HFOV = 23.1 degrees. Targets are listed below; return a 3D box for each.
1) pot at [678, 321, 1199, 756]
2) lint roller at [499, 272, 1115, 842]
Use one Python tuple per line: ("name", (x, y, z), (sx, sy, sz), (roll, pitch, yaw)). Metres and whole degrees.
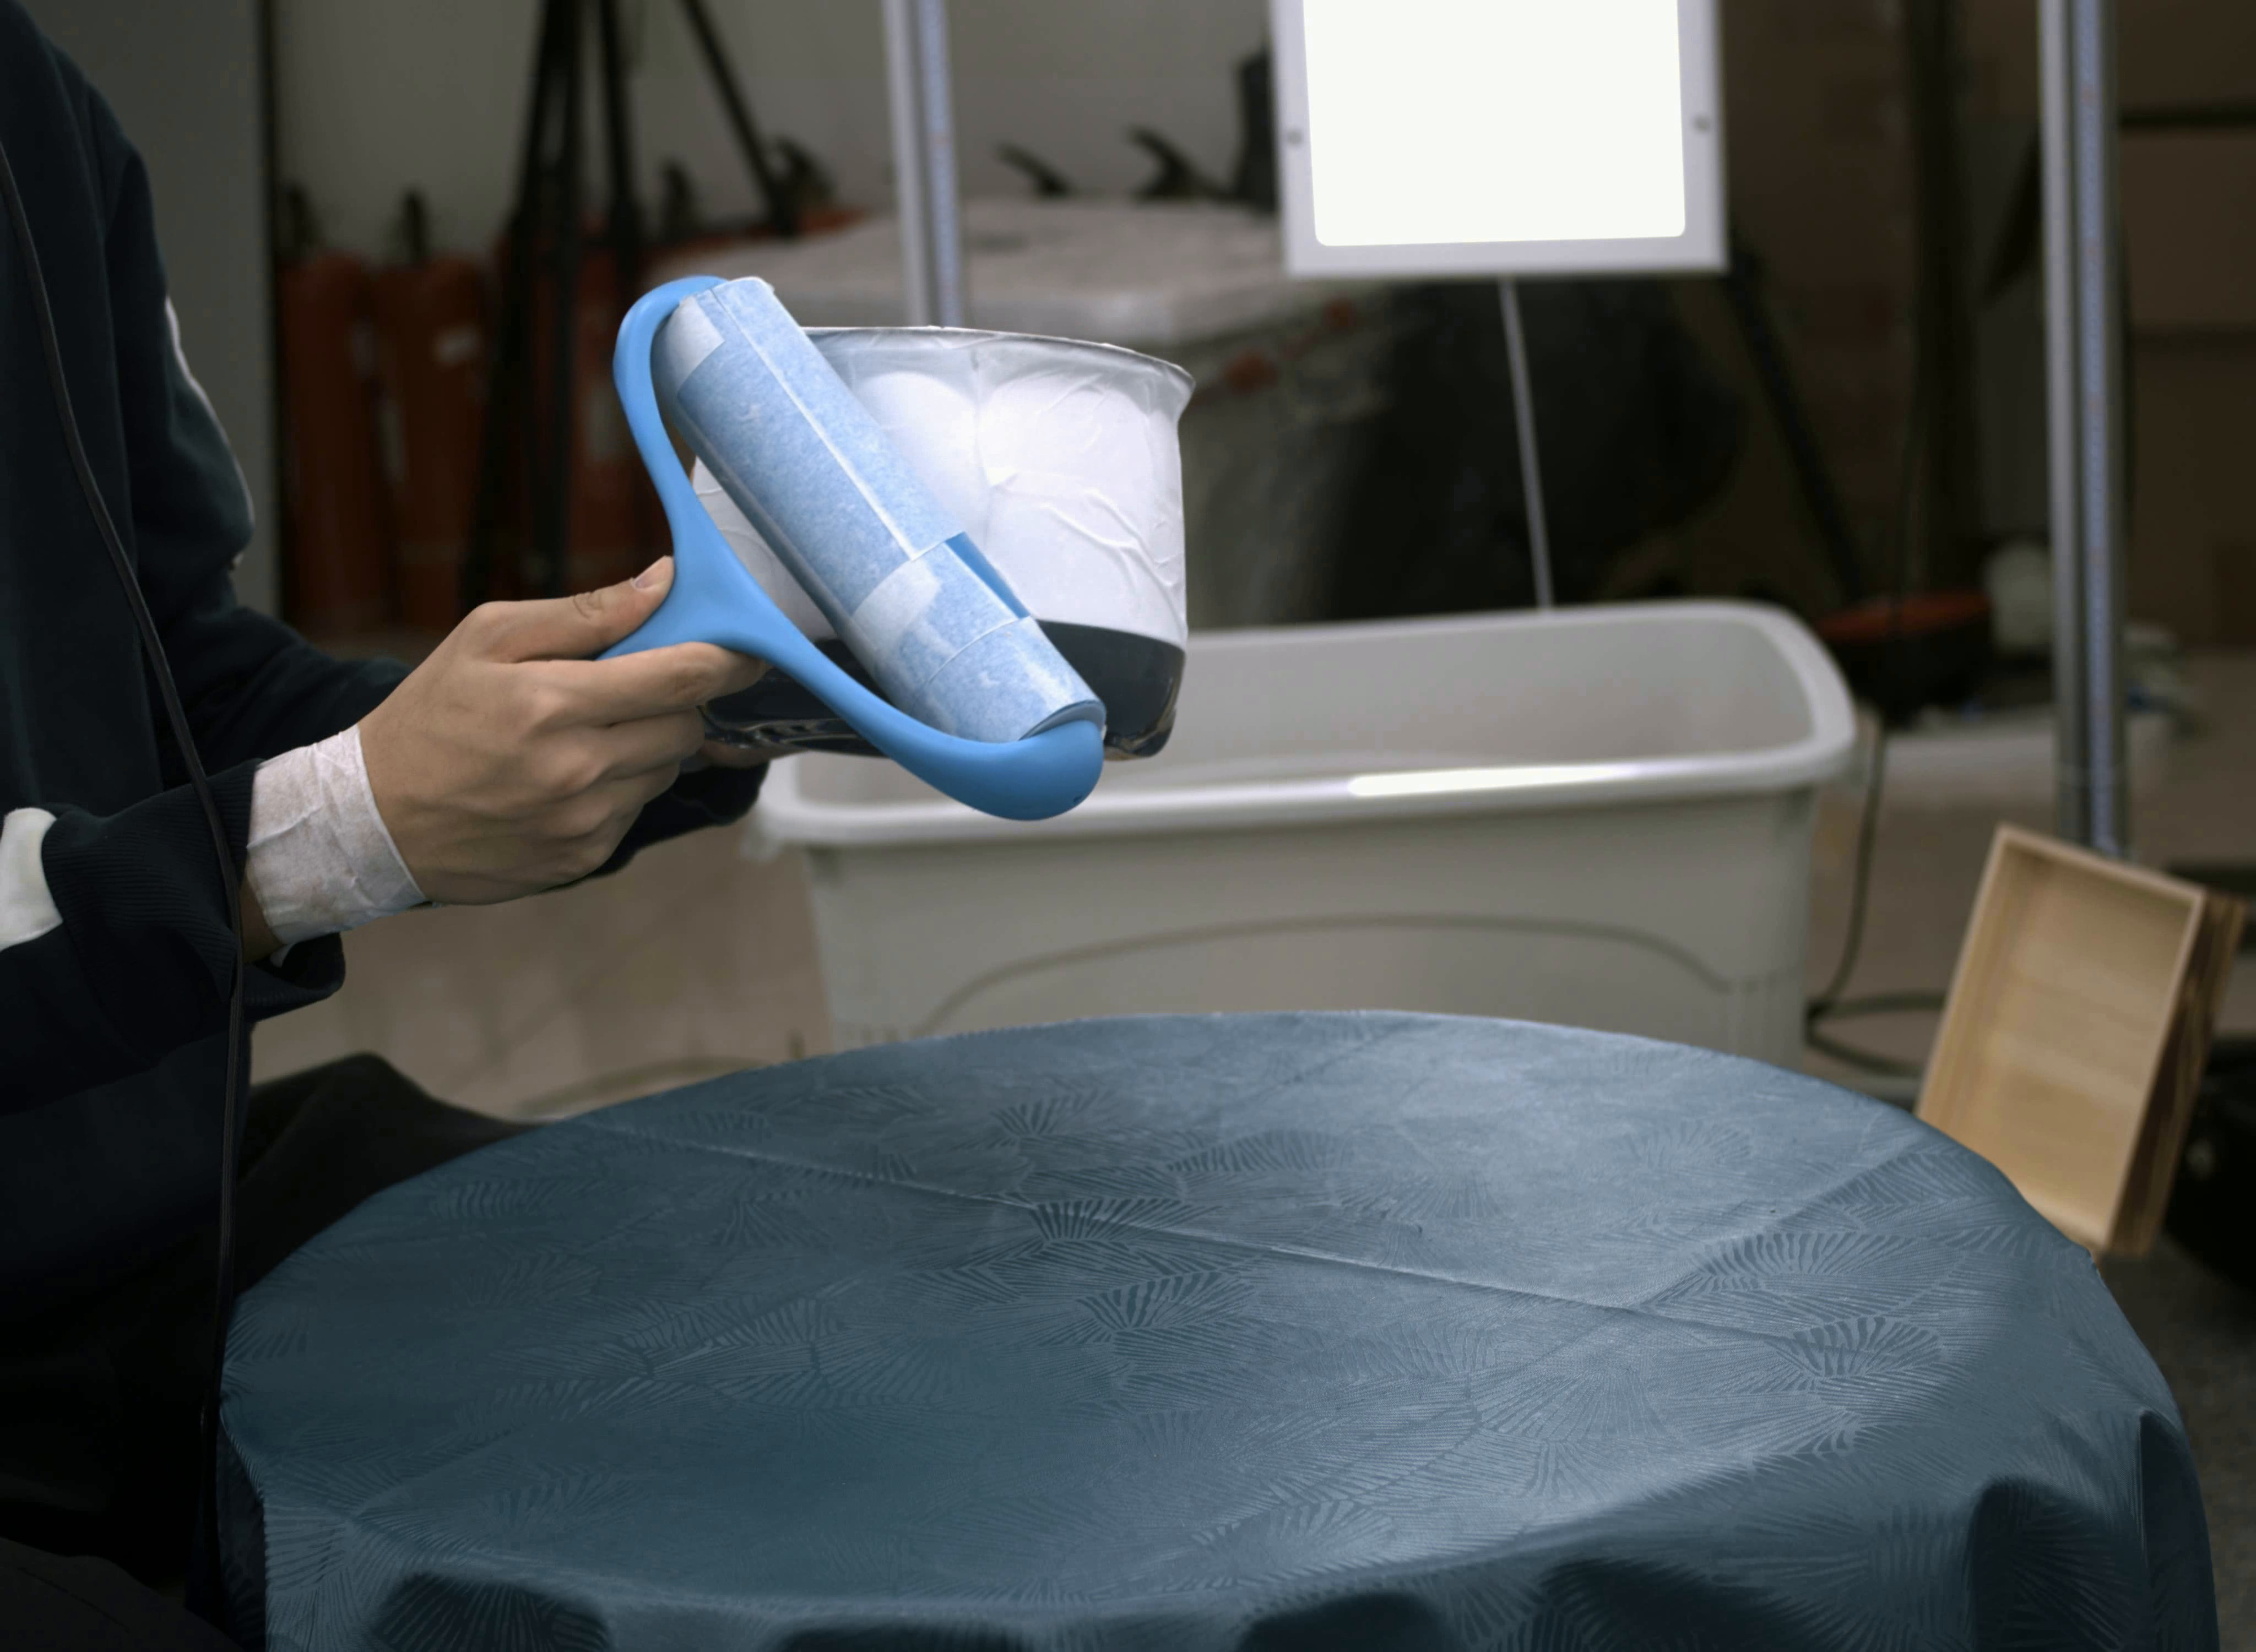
("pot", (-0.082, -0.095, 1.931), (0.174, 0.137, 0.238), (6, -5, -32))
("lint roller", (-0.129, -0.060, 1.782), (0.178, 0.230, 0.068), (-38, -18, -13))
